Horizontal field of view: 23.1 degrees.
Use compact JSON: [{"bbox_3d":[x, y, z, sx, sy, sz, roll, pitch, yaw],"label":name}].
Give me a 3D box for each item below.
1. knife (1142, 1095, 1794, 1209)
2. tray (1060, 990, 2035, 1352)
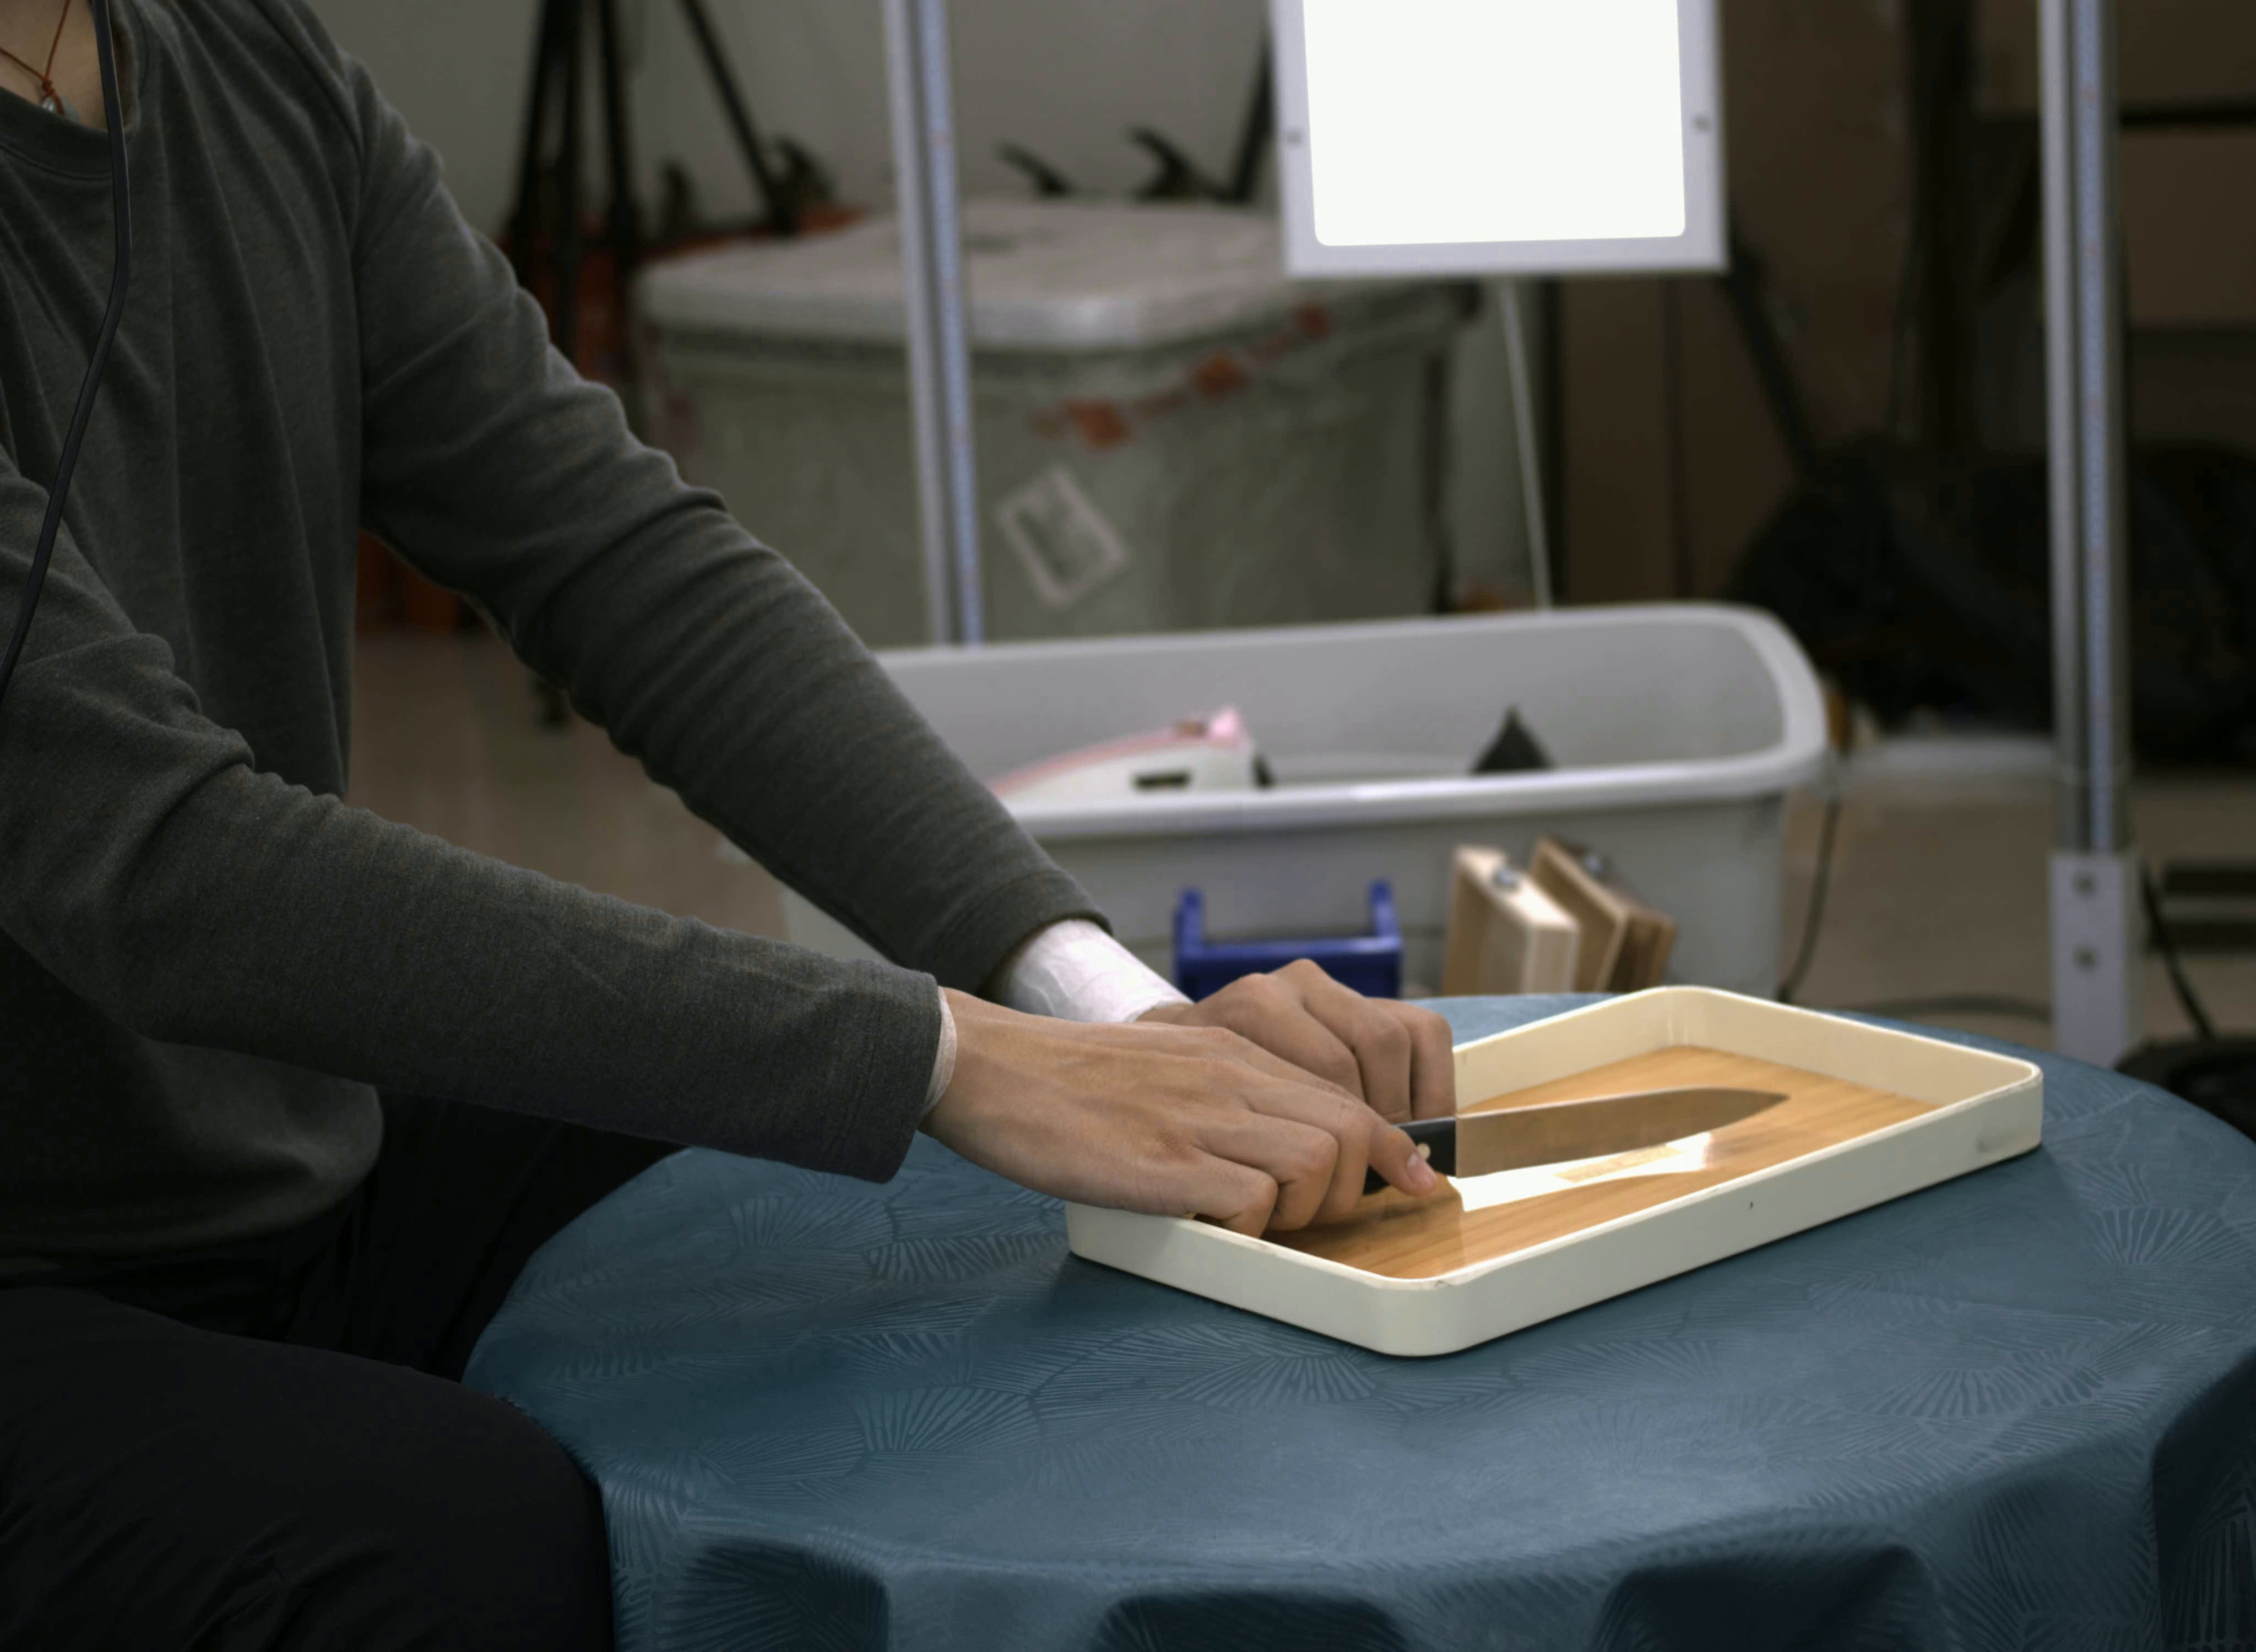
[{"bbox_3d":[0.117,0.106,1.842,0.234,0.024,0.016,-5,11,-16],"label":"knife"},{"bbox_3d":[0.145,0.112,1.853,0.293,0.027,0.195,-15,16,-34],"label":"tray"}]
